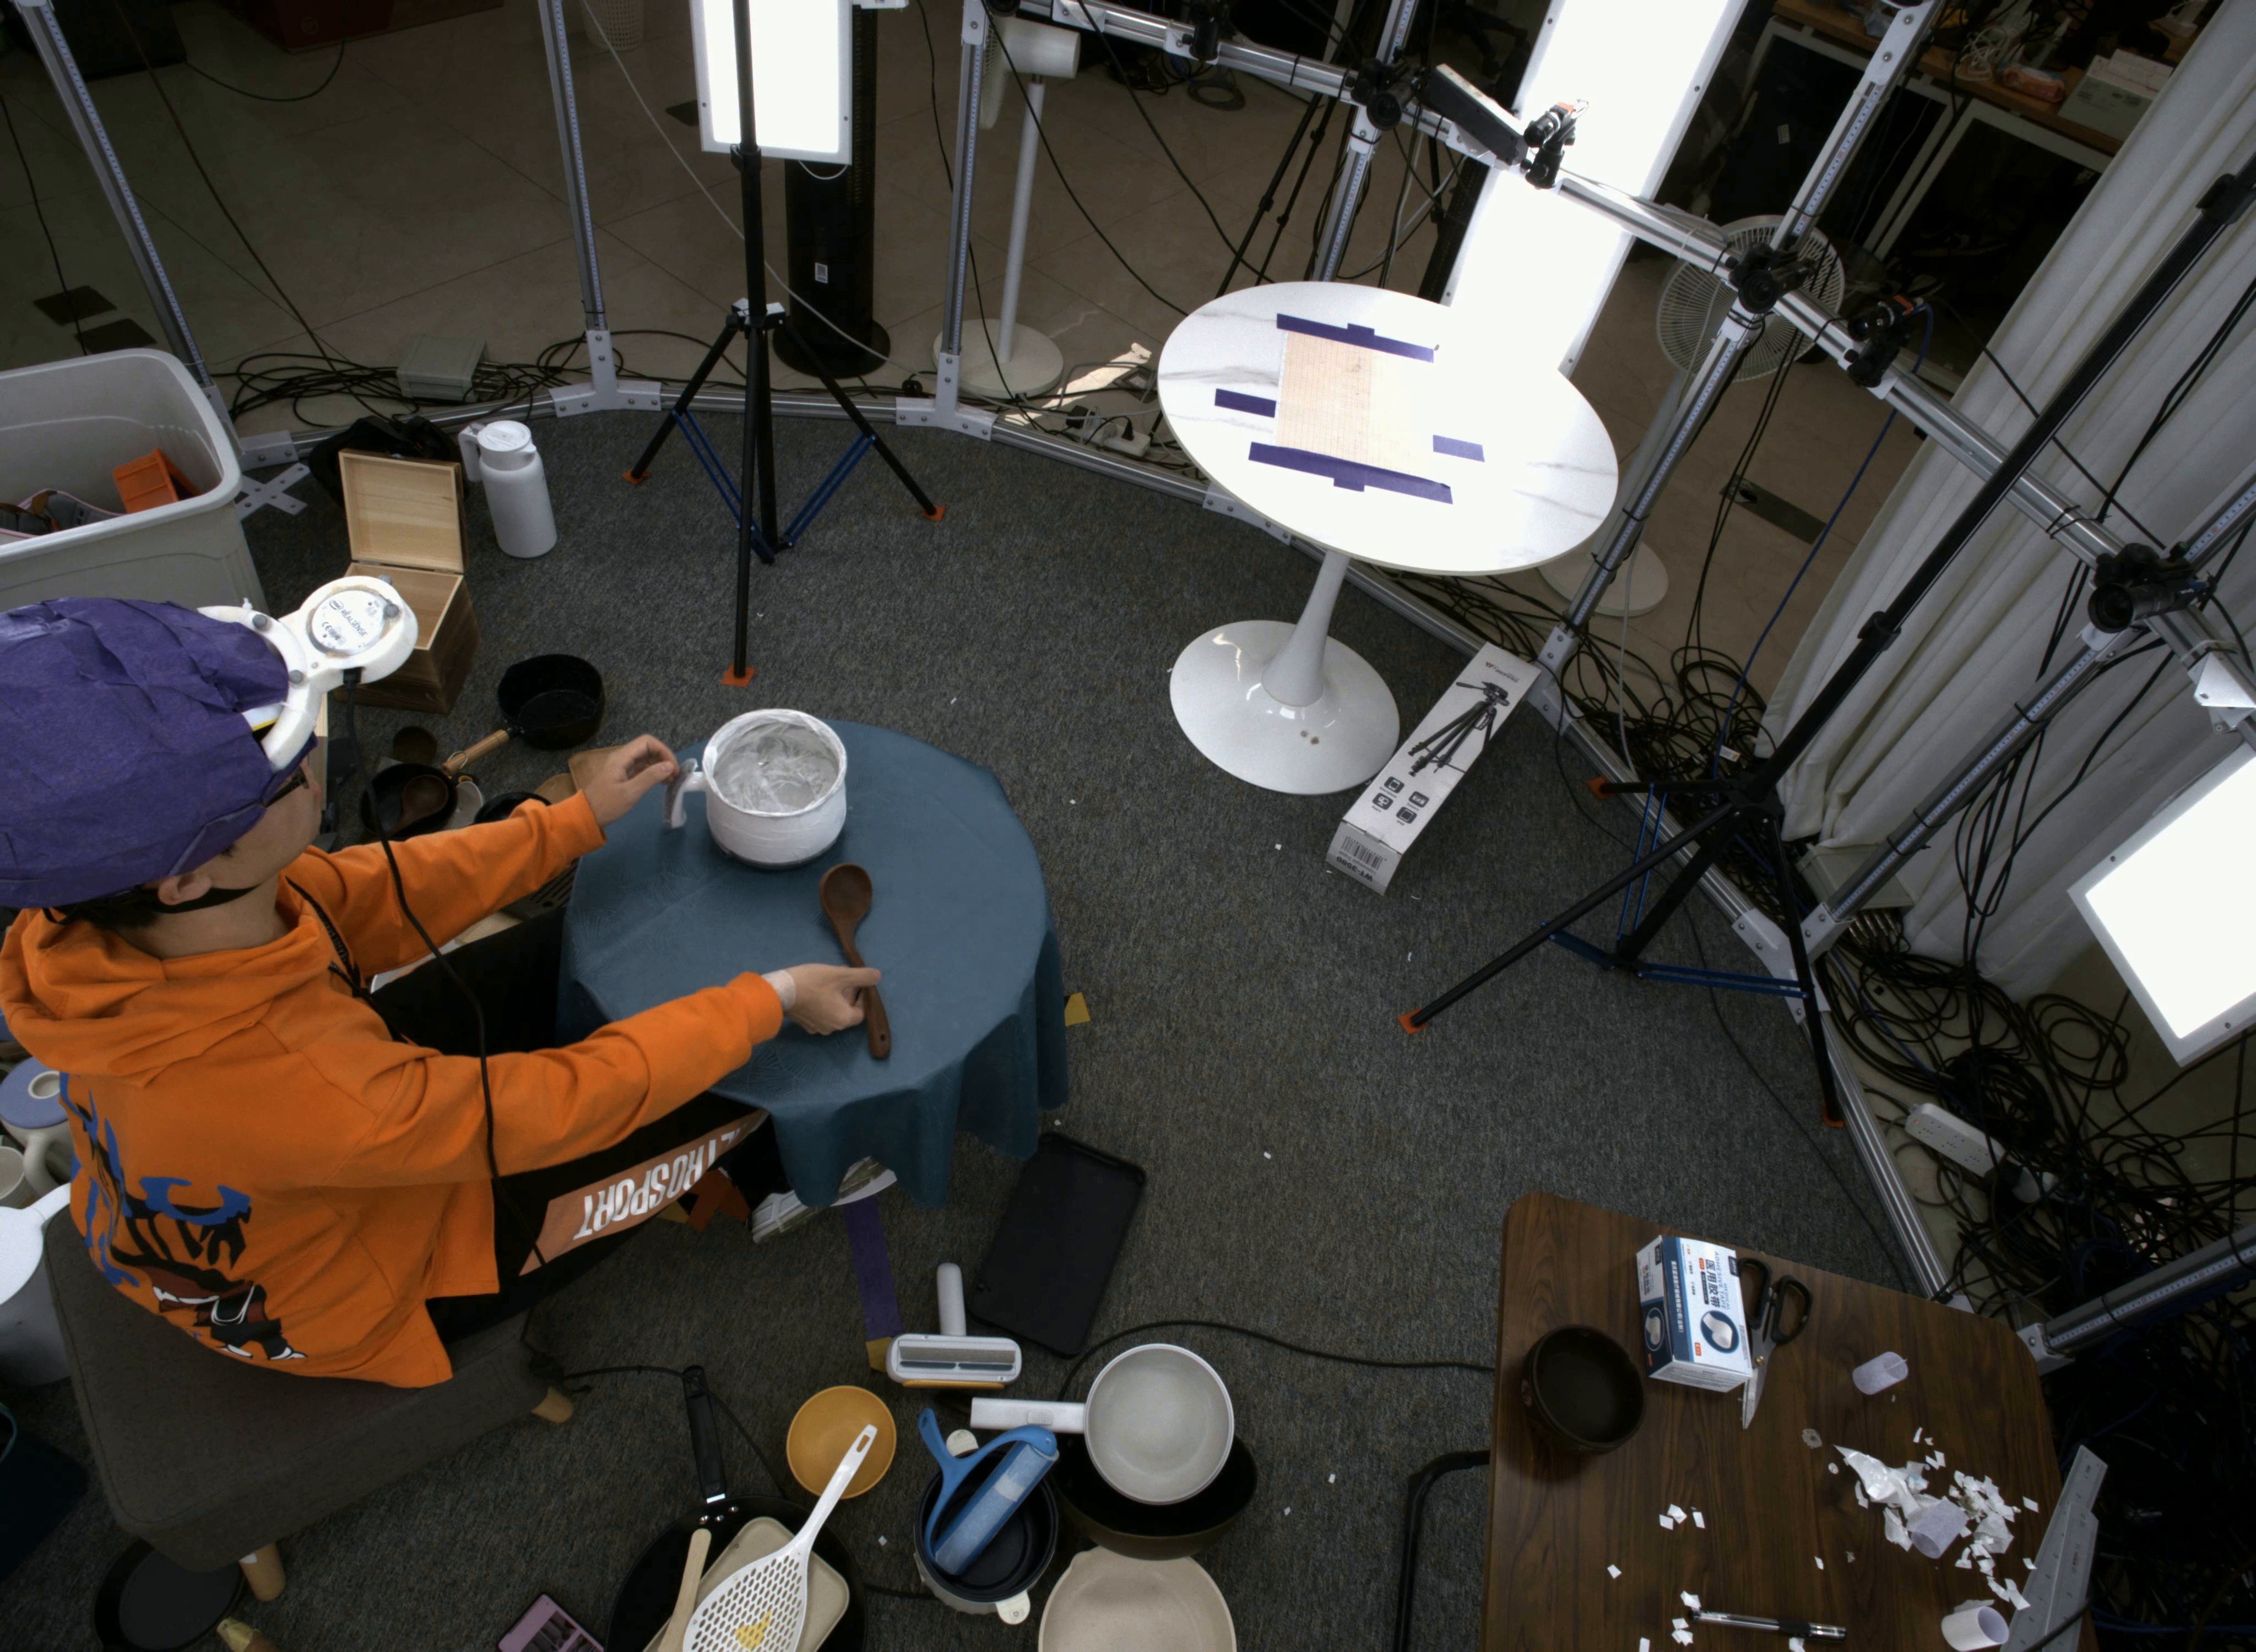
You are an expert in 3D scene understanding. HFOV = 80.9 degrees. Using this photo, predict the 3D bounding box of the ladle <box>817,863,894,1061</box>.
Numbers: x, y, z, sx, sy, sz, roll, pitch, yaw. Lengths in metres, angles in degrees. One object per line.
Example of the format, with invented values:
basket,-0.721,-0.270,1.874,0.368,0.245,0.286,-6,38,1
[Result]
ladle,-0.321,0.158,1.583,0.078,0.065,0.253,5,48,-41

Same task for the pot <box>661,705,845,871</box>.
pot,-0.477,-0.042,1.643,0.234,0.139,0.174,-4,54,-17
